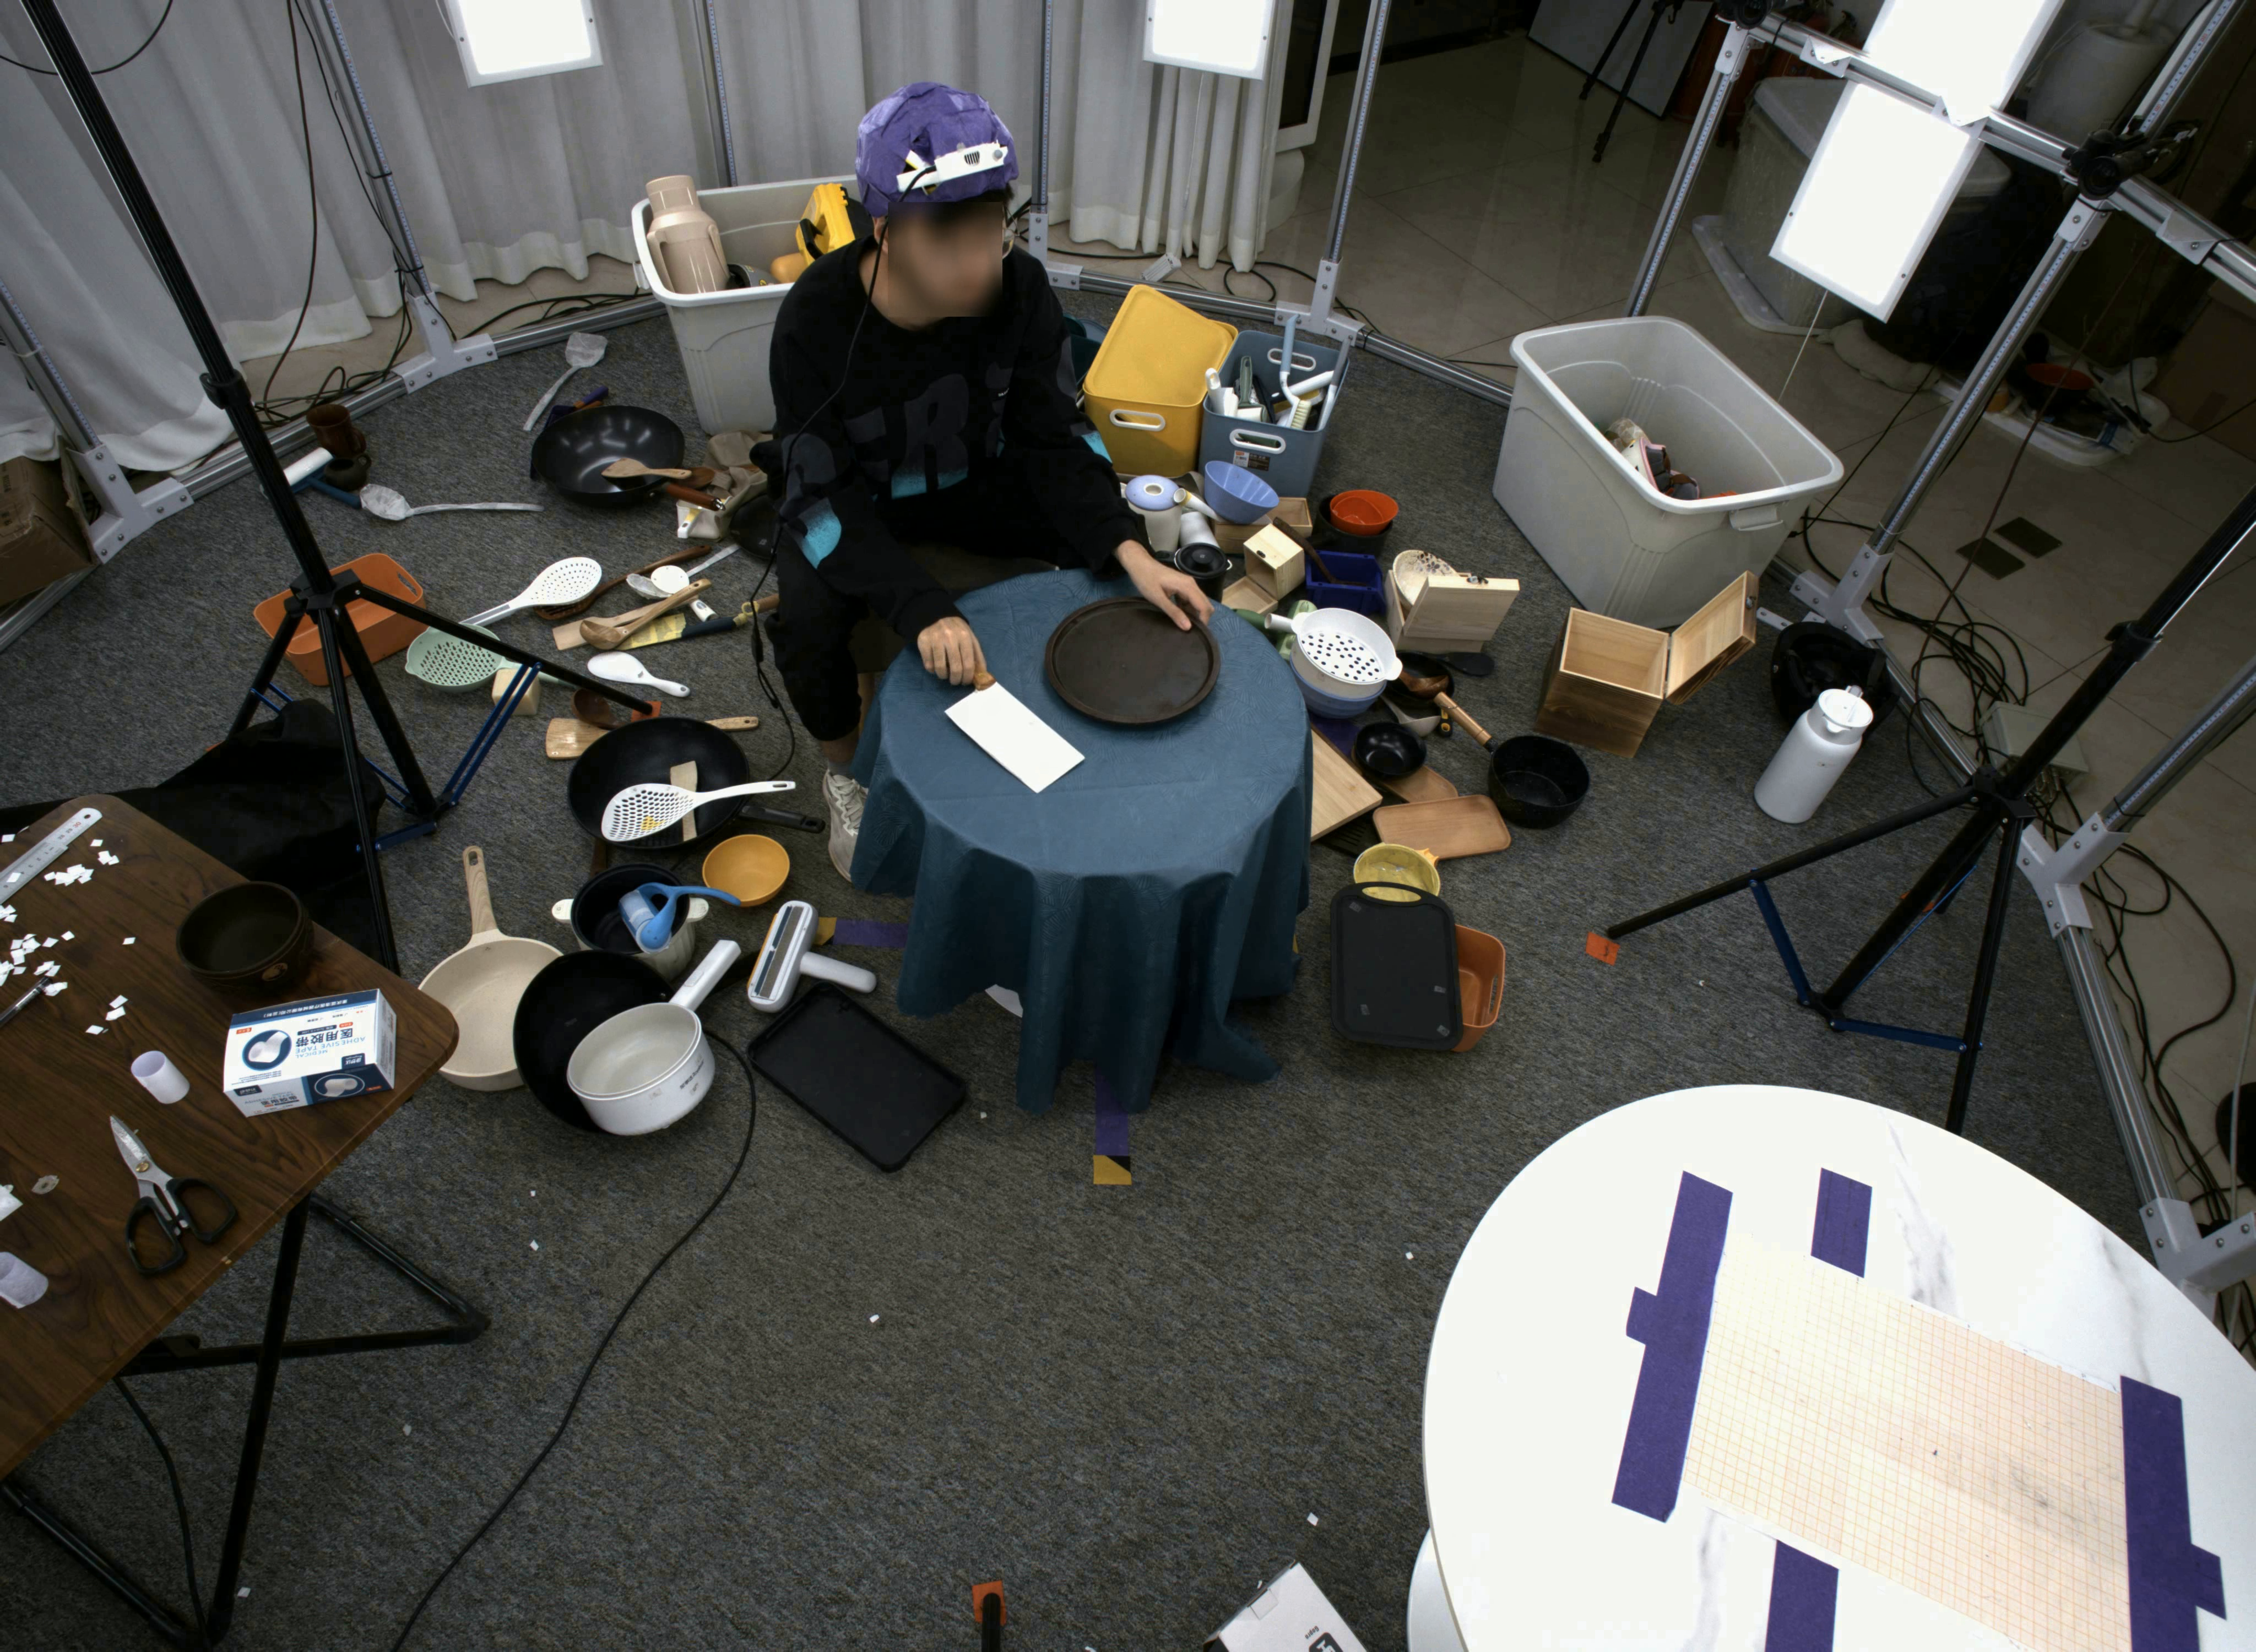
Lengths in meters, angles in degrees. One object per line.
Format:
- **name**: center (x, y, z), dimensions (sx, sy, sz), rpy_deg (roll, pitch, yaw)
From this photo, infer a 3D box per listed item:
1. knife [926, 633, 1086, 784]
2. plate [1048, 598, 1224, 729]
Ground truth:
- **knife**: center (-0.191, -0.161, 1.779), dimensions (0.094, 0.020, 0.310), rpy_deg (-37, 64, -26)
- **plate**: center (0.011, -0.236, 1.850), dimensions (0.254, 0.028, 0.261), rpy_deg (0, 53, 0)
